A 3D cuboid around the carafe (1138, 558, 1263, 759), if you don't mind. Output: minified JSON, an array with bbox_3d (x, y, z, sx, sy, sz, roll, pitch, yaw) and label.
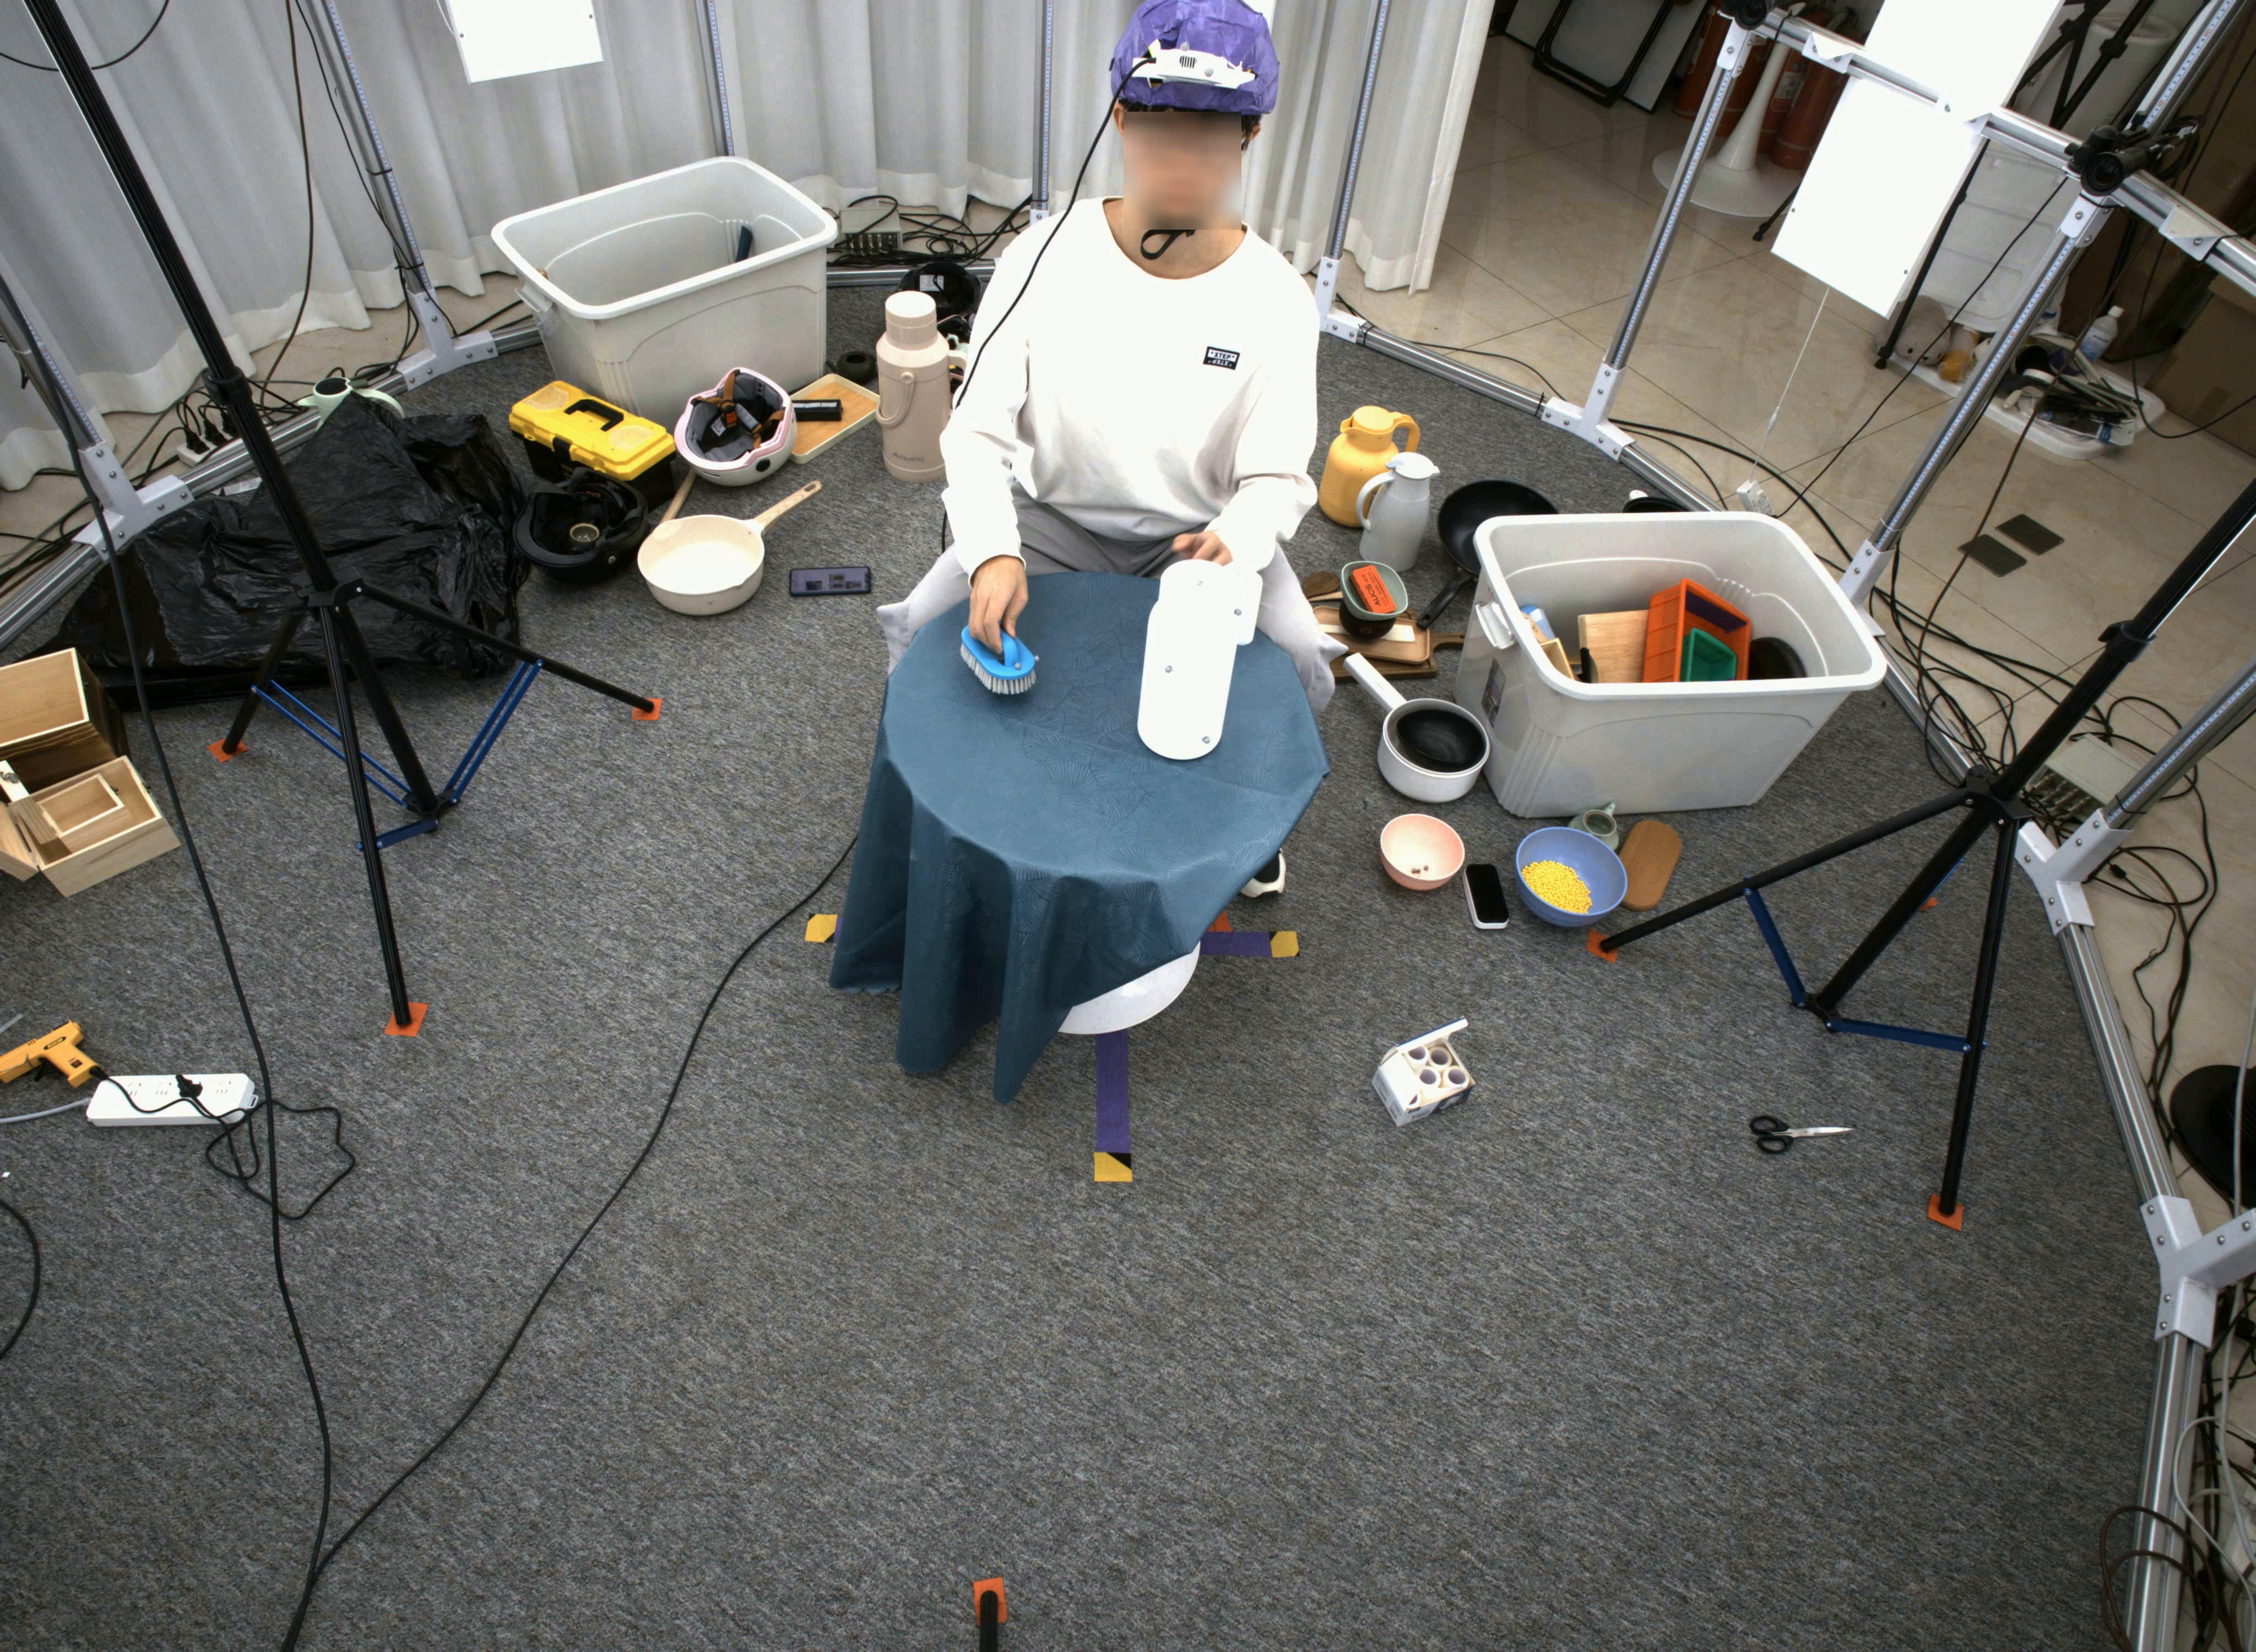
[{"bbox_3d":[0.093,-0.225,1.695,0.174,0.262,0.126,-30,56,-28],"label":"carafe"}]

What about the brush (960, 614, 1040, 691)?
[{"bbox_3d":[-0.181,-0.253,1.796,0.084,0.062,0.145,-22,48,-22],"label":"brush"}]
